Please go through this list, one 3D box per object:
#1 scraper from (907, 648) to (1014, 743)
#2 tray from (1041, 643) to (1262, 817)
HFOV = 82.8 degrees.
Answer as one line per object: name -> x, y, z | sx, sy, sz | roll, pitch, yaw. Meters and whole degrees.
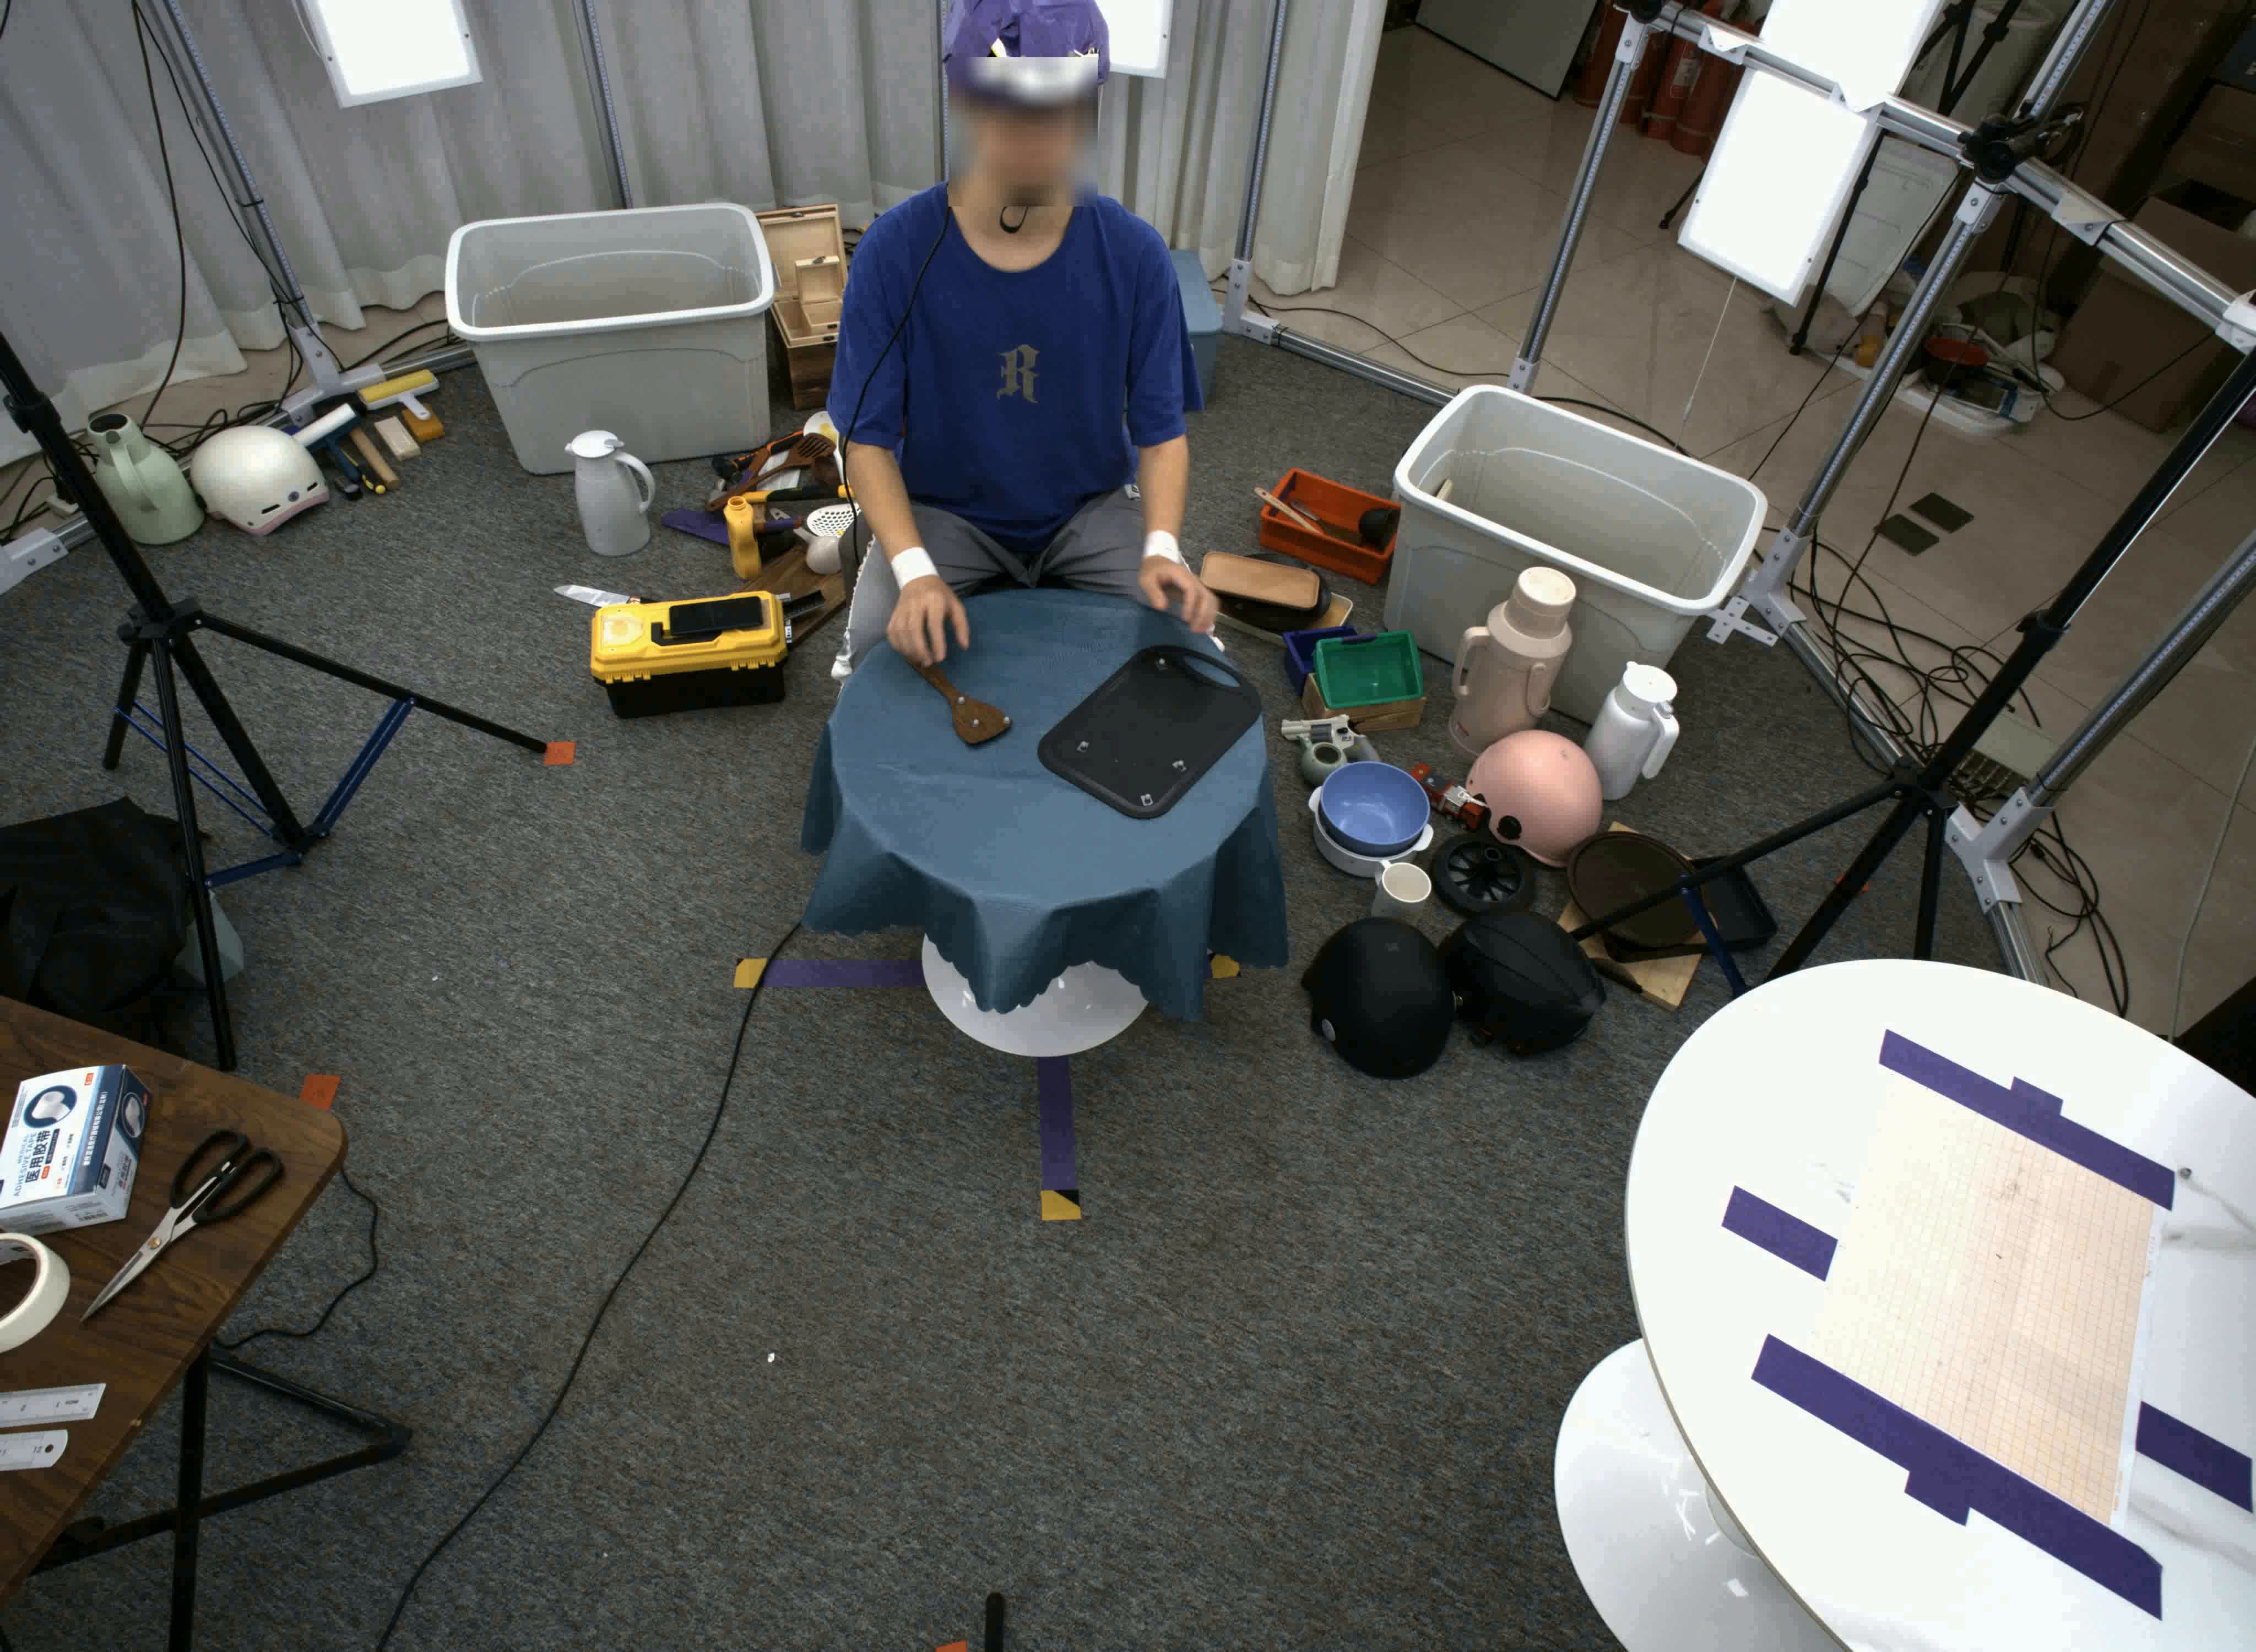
scraper -> -0.246, -0.189, 1.815 | 0.076, 0.010, 0.215 | -29, 56, -26
tray -> 0.041, -0.149, 1.799 | 0.213, 0.009, 0.329 | 31, 55, 21
